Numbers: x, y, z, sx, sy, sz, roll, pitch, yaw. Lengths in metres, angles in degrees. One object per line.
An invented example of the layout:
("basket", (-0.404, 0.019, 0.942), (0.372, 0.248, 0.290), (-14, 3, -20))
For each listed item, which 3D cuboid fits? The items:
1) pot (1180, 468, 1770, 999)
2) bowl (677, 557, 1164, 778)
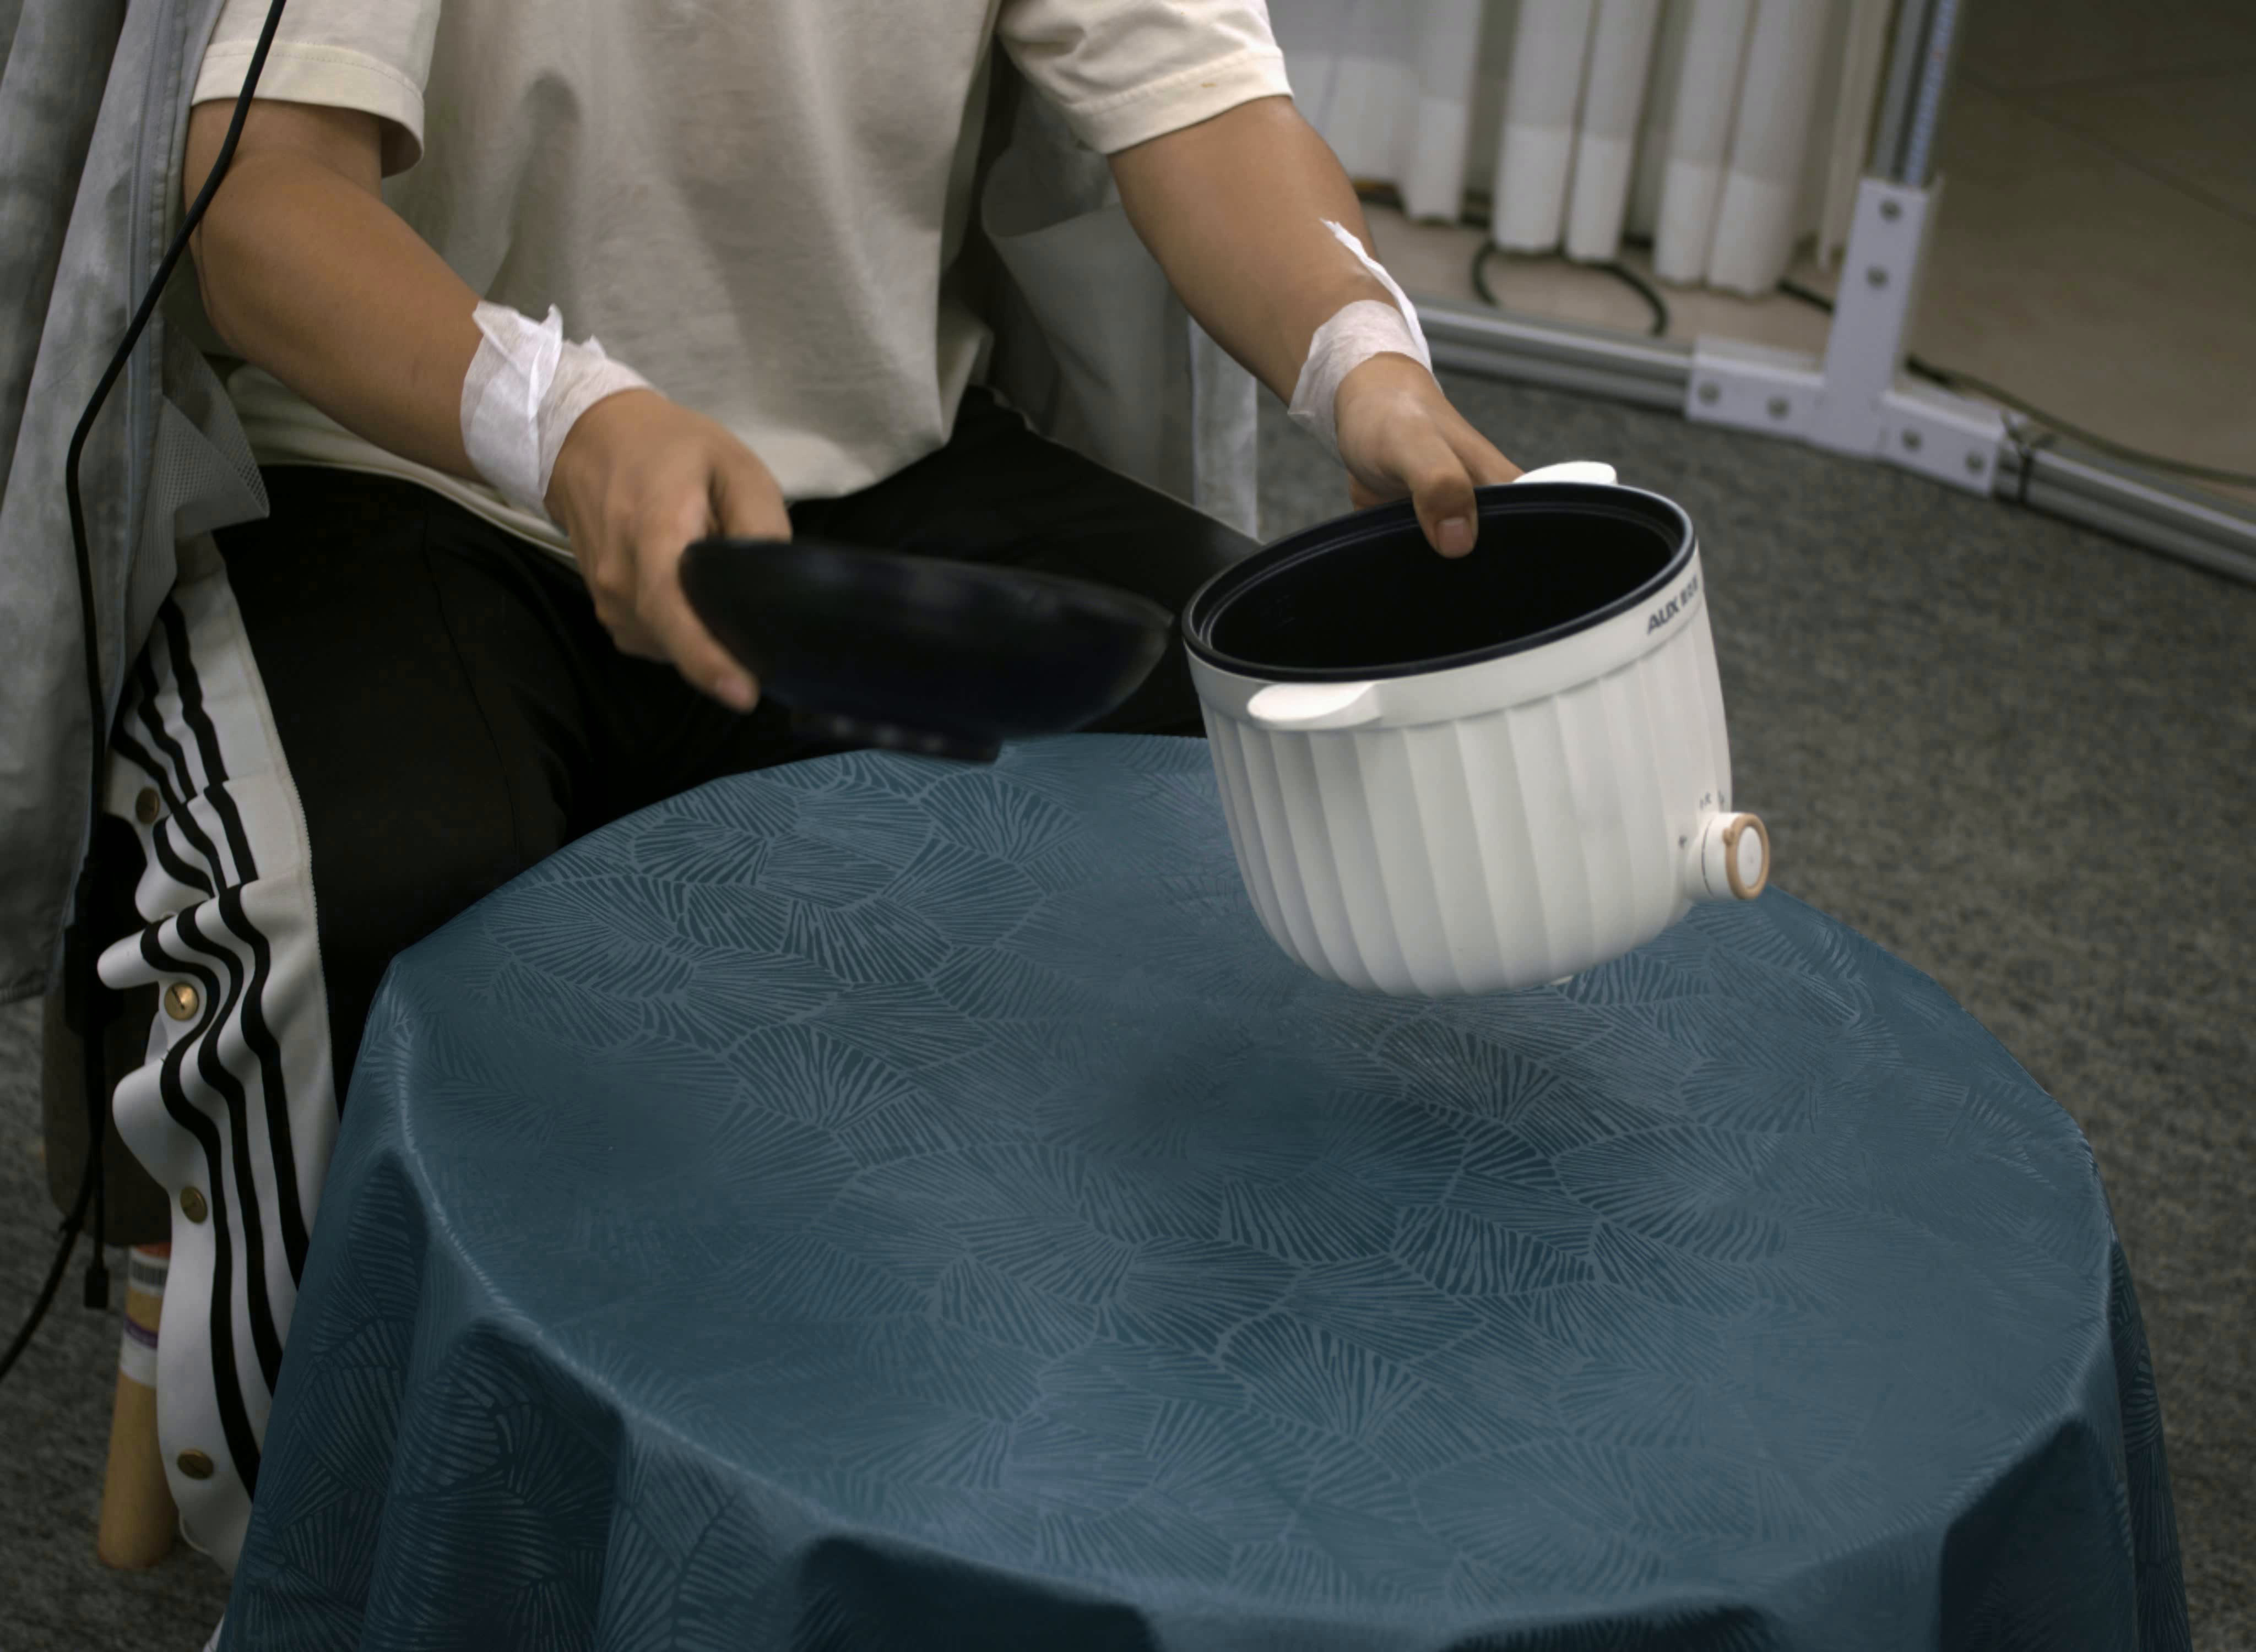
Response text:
("pot", (0.125, -0.026, 1.863), (0.191, 0.142, 0.240), (-3, 23, 32))
("bowl", (-0.074, -0.053, 1.752), (0.171, 0.067, 0.136), (11, 4, 22))
